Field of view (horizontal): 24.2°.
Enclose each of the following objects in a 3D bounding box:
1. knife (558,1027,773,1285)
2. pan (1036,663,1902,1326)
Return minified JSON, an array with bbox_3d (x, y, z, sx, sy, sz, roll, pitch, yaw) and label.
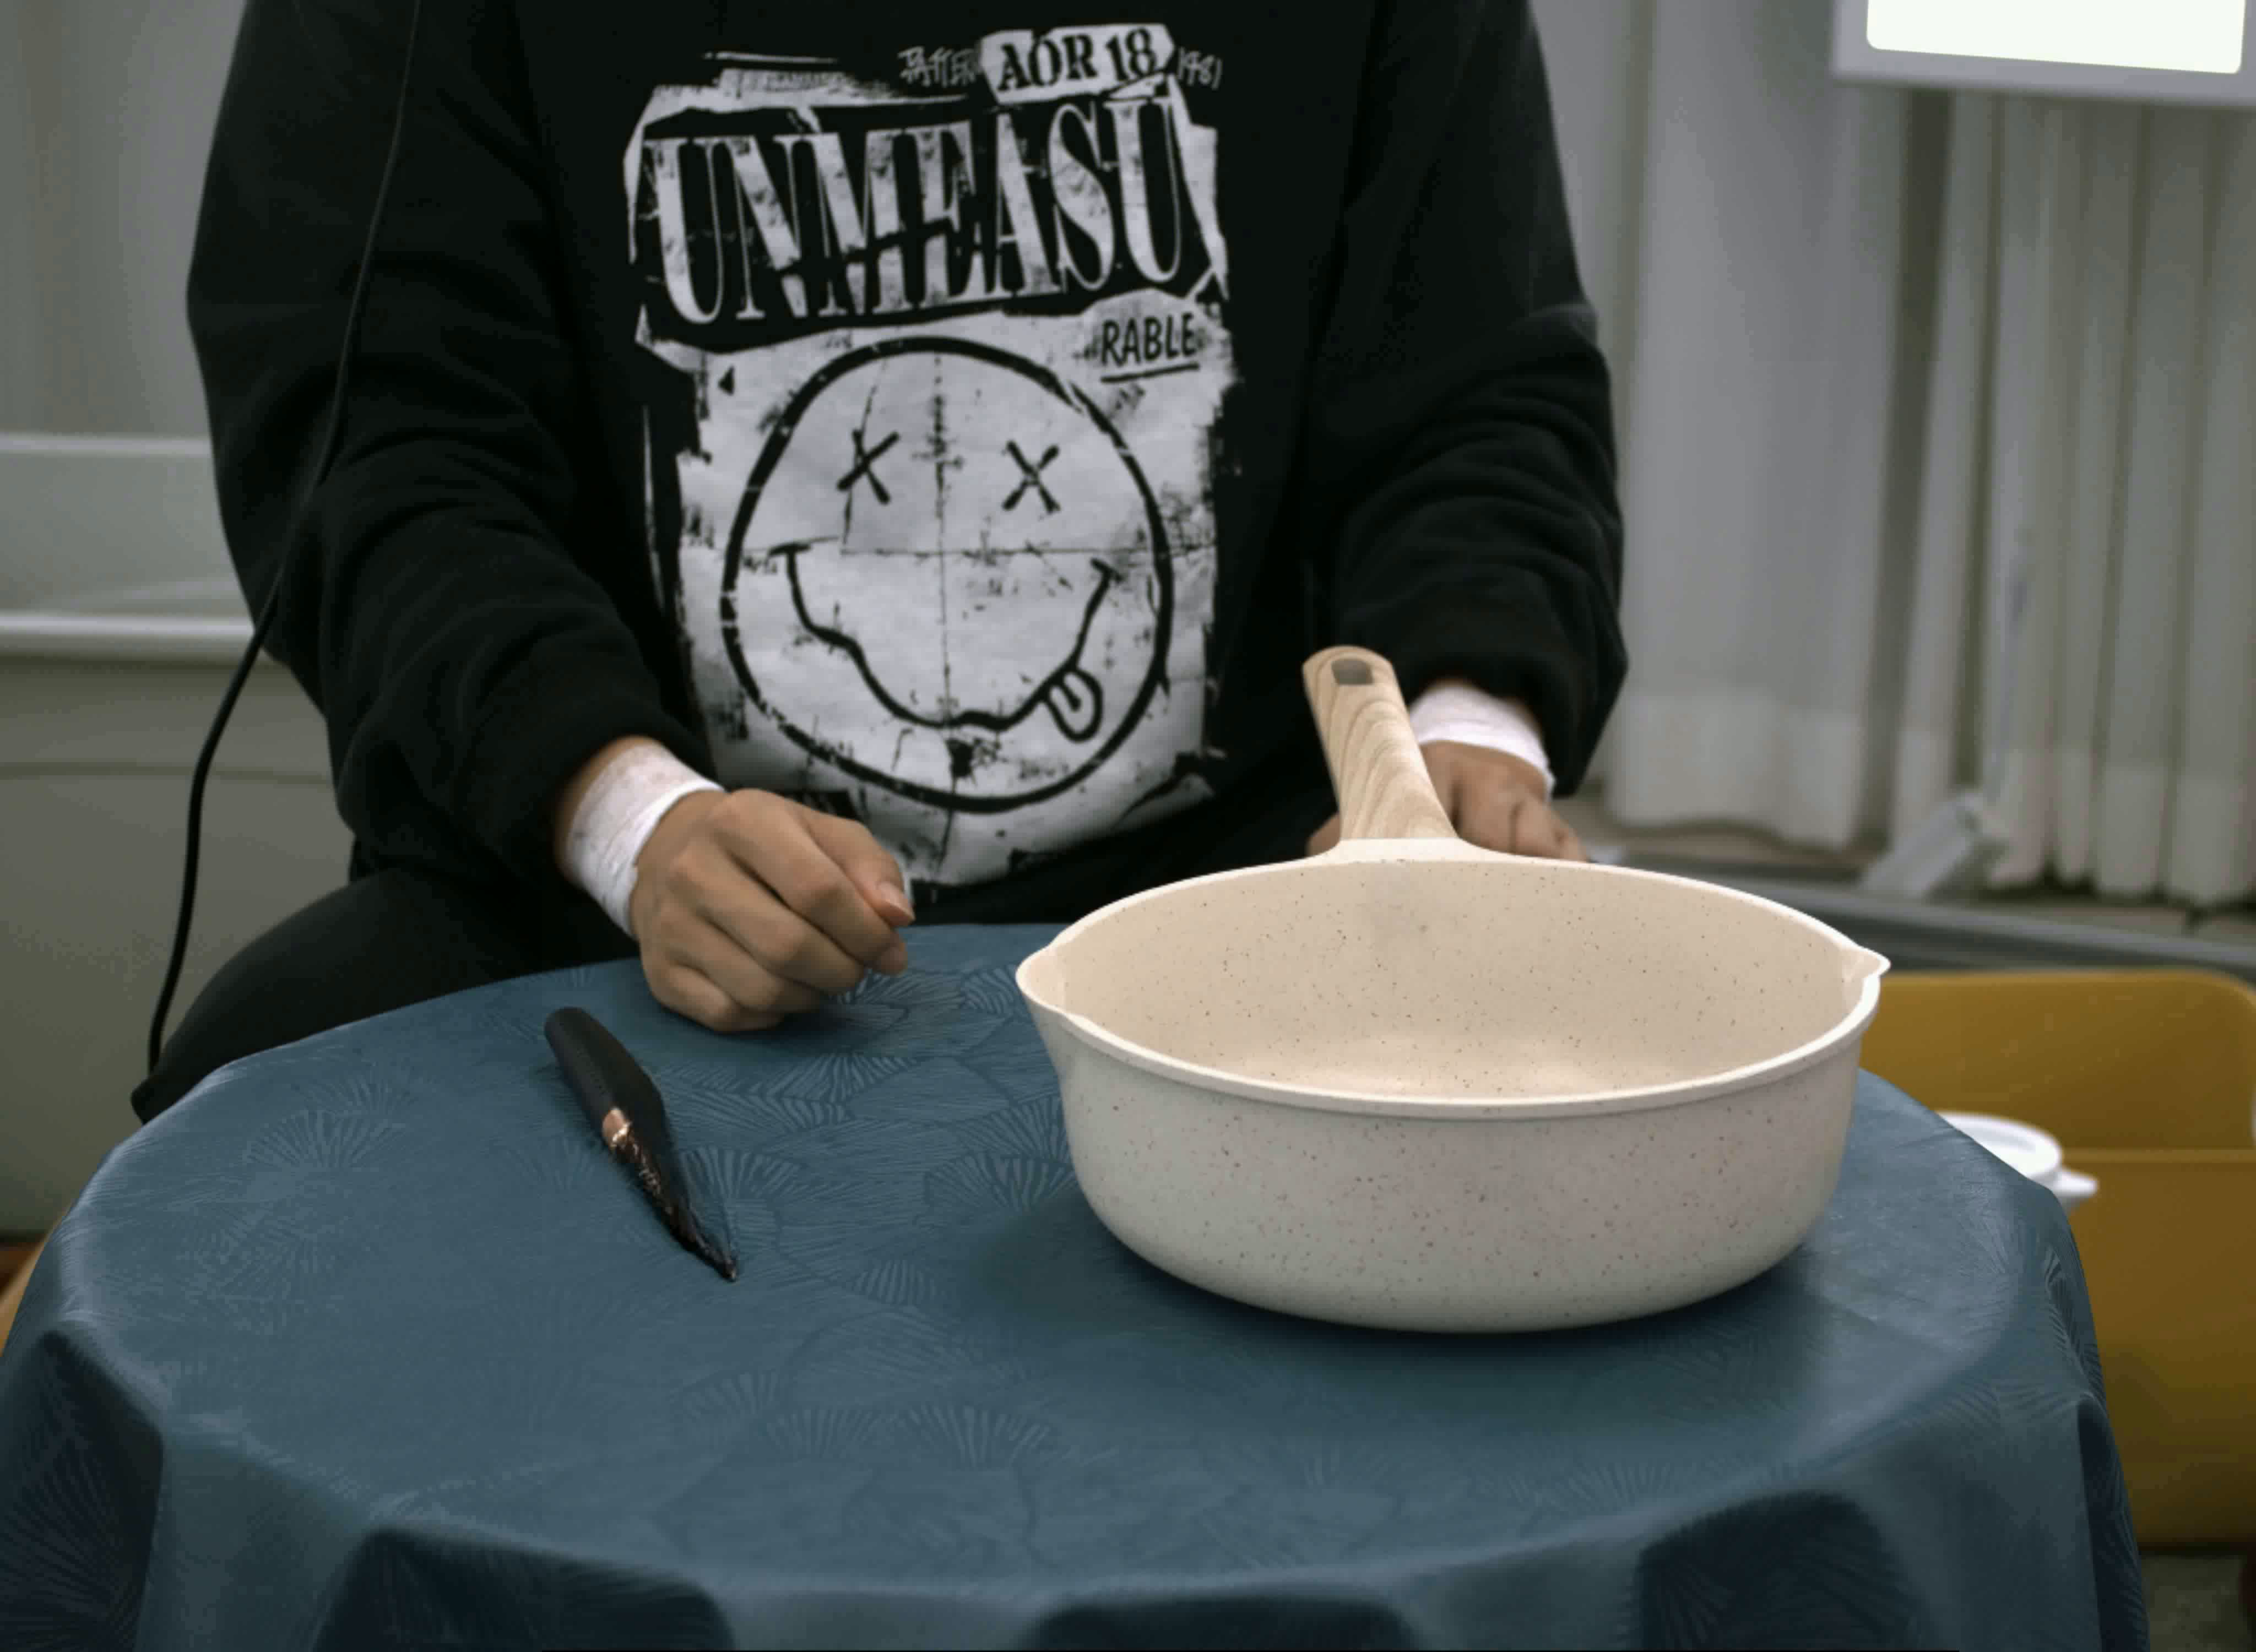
[{"bbox_3d":[-0.146,0.102,1.641,0.026,0.017,0.223,11,12,-22],"label":"knife"},{"bbox_3d":[0.095,0.048,1.669,0.263,0.103,0.432,-2,16,-5],"label":"pan"}]
